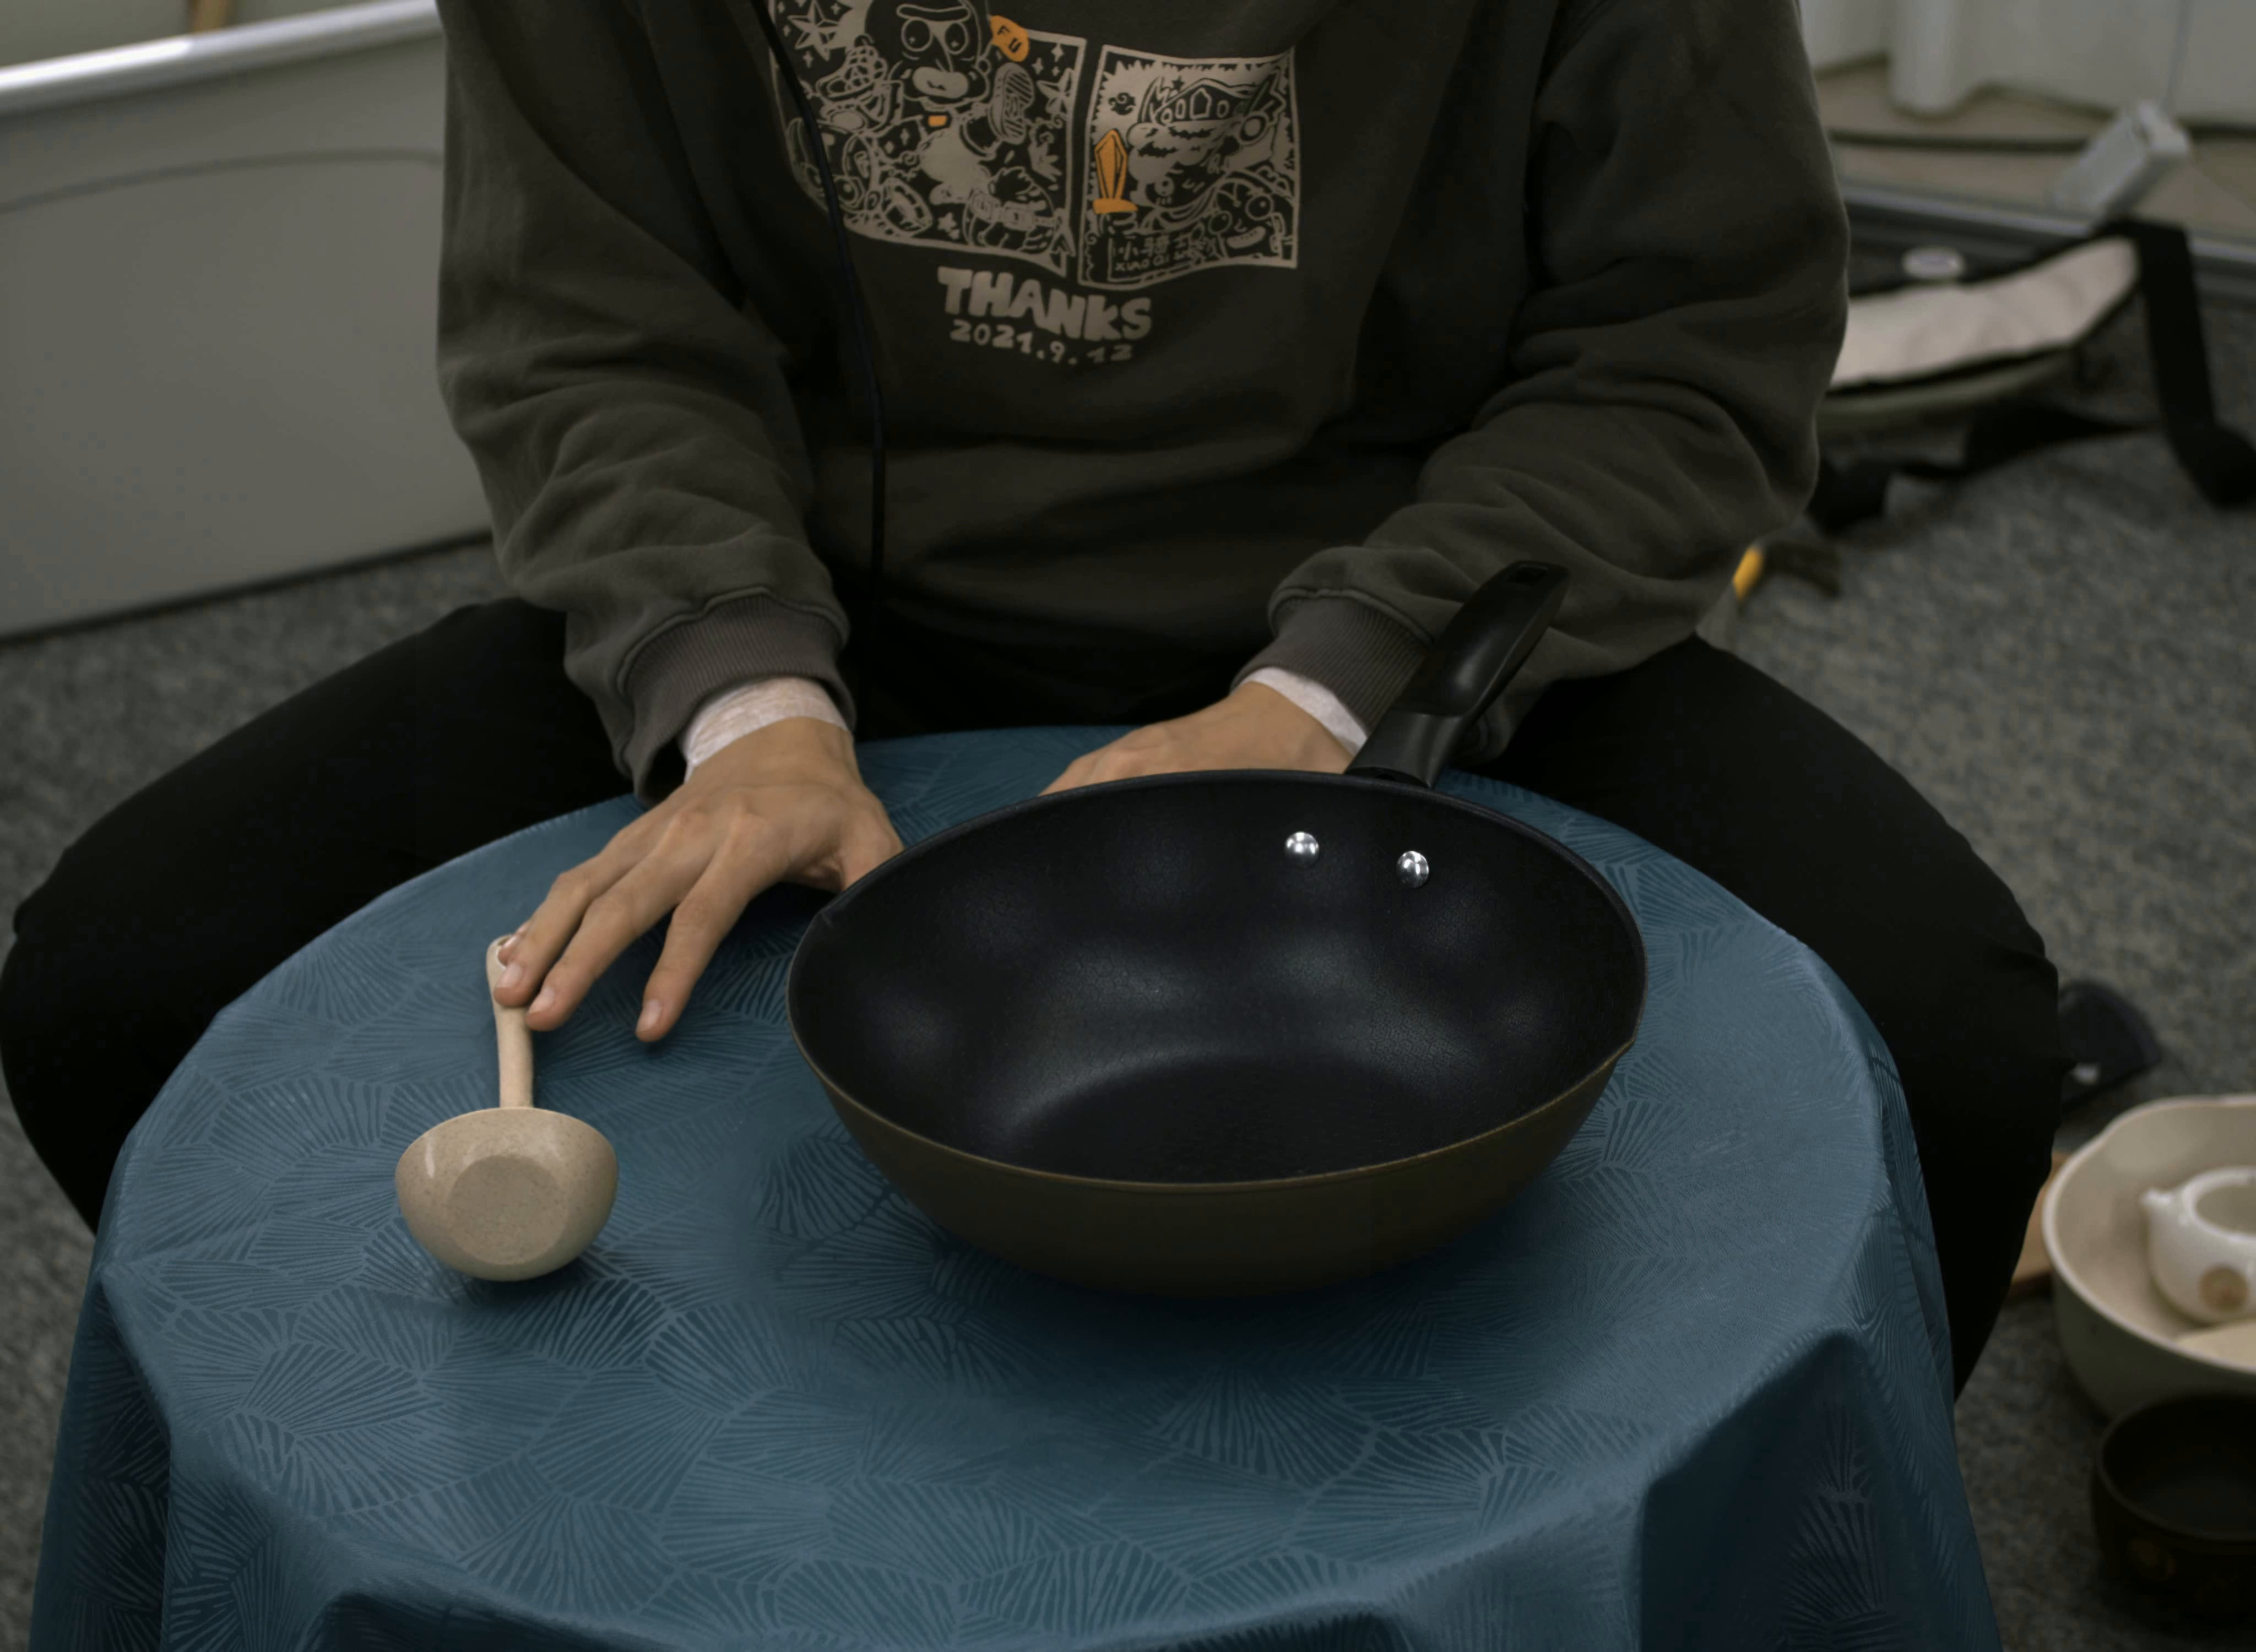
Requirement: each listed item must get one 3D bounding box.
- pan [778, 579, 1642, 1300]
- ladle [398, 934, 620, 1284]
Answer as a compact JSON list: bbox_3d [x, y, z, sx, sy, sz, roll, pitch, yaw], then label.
[{"bbox_3d":[0.064,0.039,1.924,0.286,0.086,0.471,9,29,22],"label":"pan"},{"bbox_3d":[-0.215,0.069,1.905,0.072,0.072,0.258,-10,29,-4],"label":"ladle"}]
